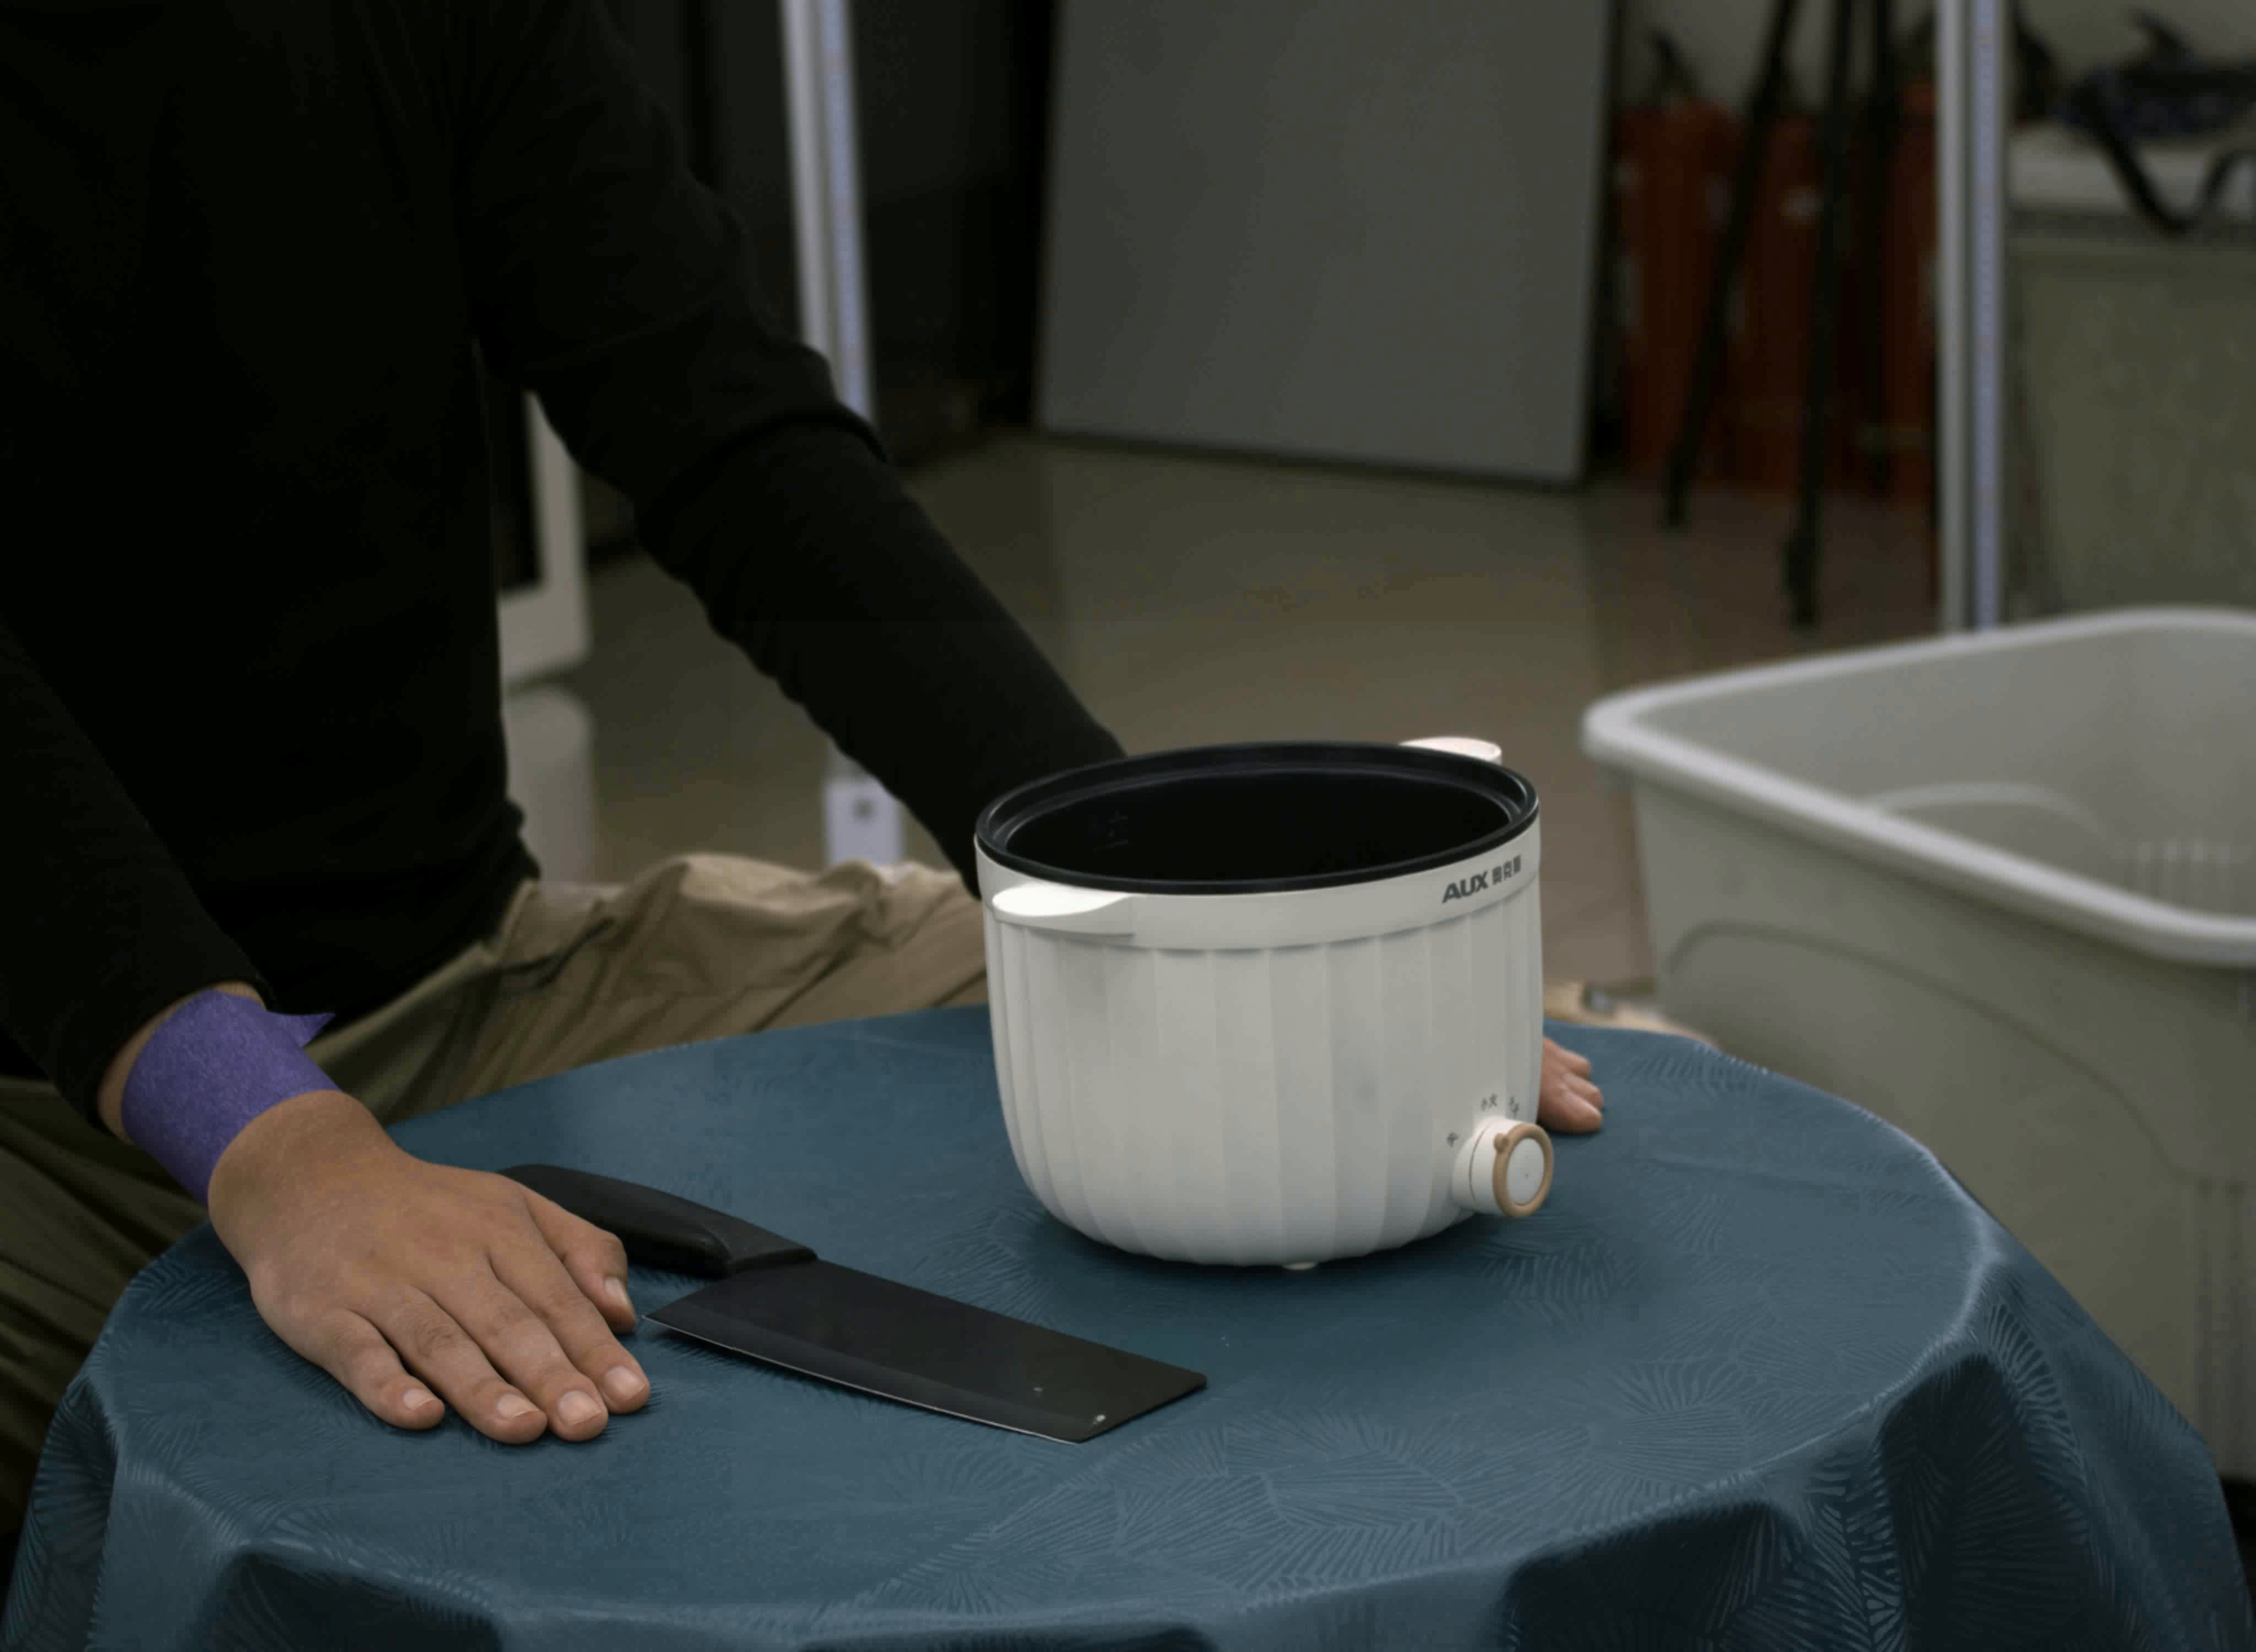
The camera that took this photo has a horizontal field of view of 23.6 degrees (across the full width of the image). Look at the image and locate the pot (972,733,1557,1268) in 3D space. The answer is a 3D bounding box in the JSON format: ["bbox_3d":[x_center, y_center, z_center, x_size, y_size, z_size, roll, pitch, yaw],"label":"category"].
[{"bbox_3d":[0.049,0.058,1.726,0.192,0.144,0.236,3,16,40],"label":"pot"}]

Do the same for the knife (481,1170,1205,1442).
[{"bbox_3d":[-0.101,0.148,1.671,0.079,0.021,0.305,-17,20,-39],"label":"knife"}]
